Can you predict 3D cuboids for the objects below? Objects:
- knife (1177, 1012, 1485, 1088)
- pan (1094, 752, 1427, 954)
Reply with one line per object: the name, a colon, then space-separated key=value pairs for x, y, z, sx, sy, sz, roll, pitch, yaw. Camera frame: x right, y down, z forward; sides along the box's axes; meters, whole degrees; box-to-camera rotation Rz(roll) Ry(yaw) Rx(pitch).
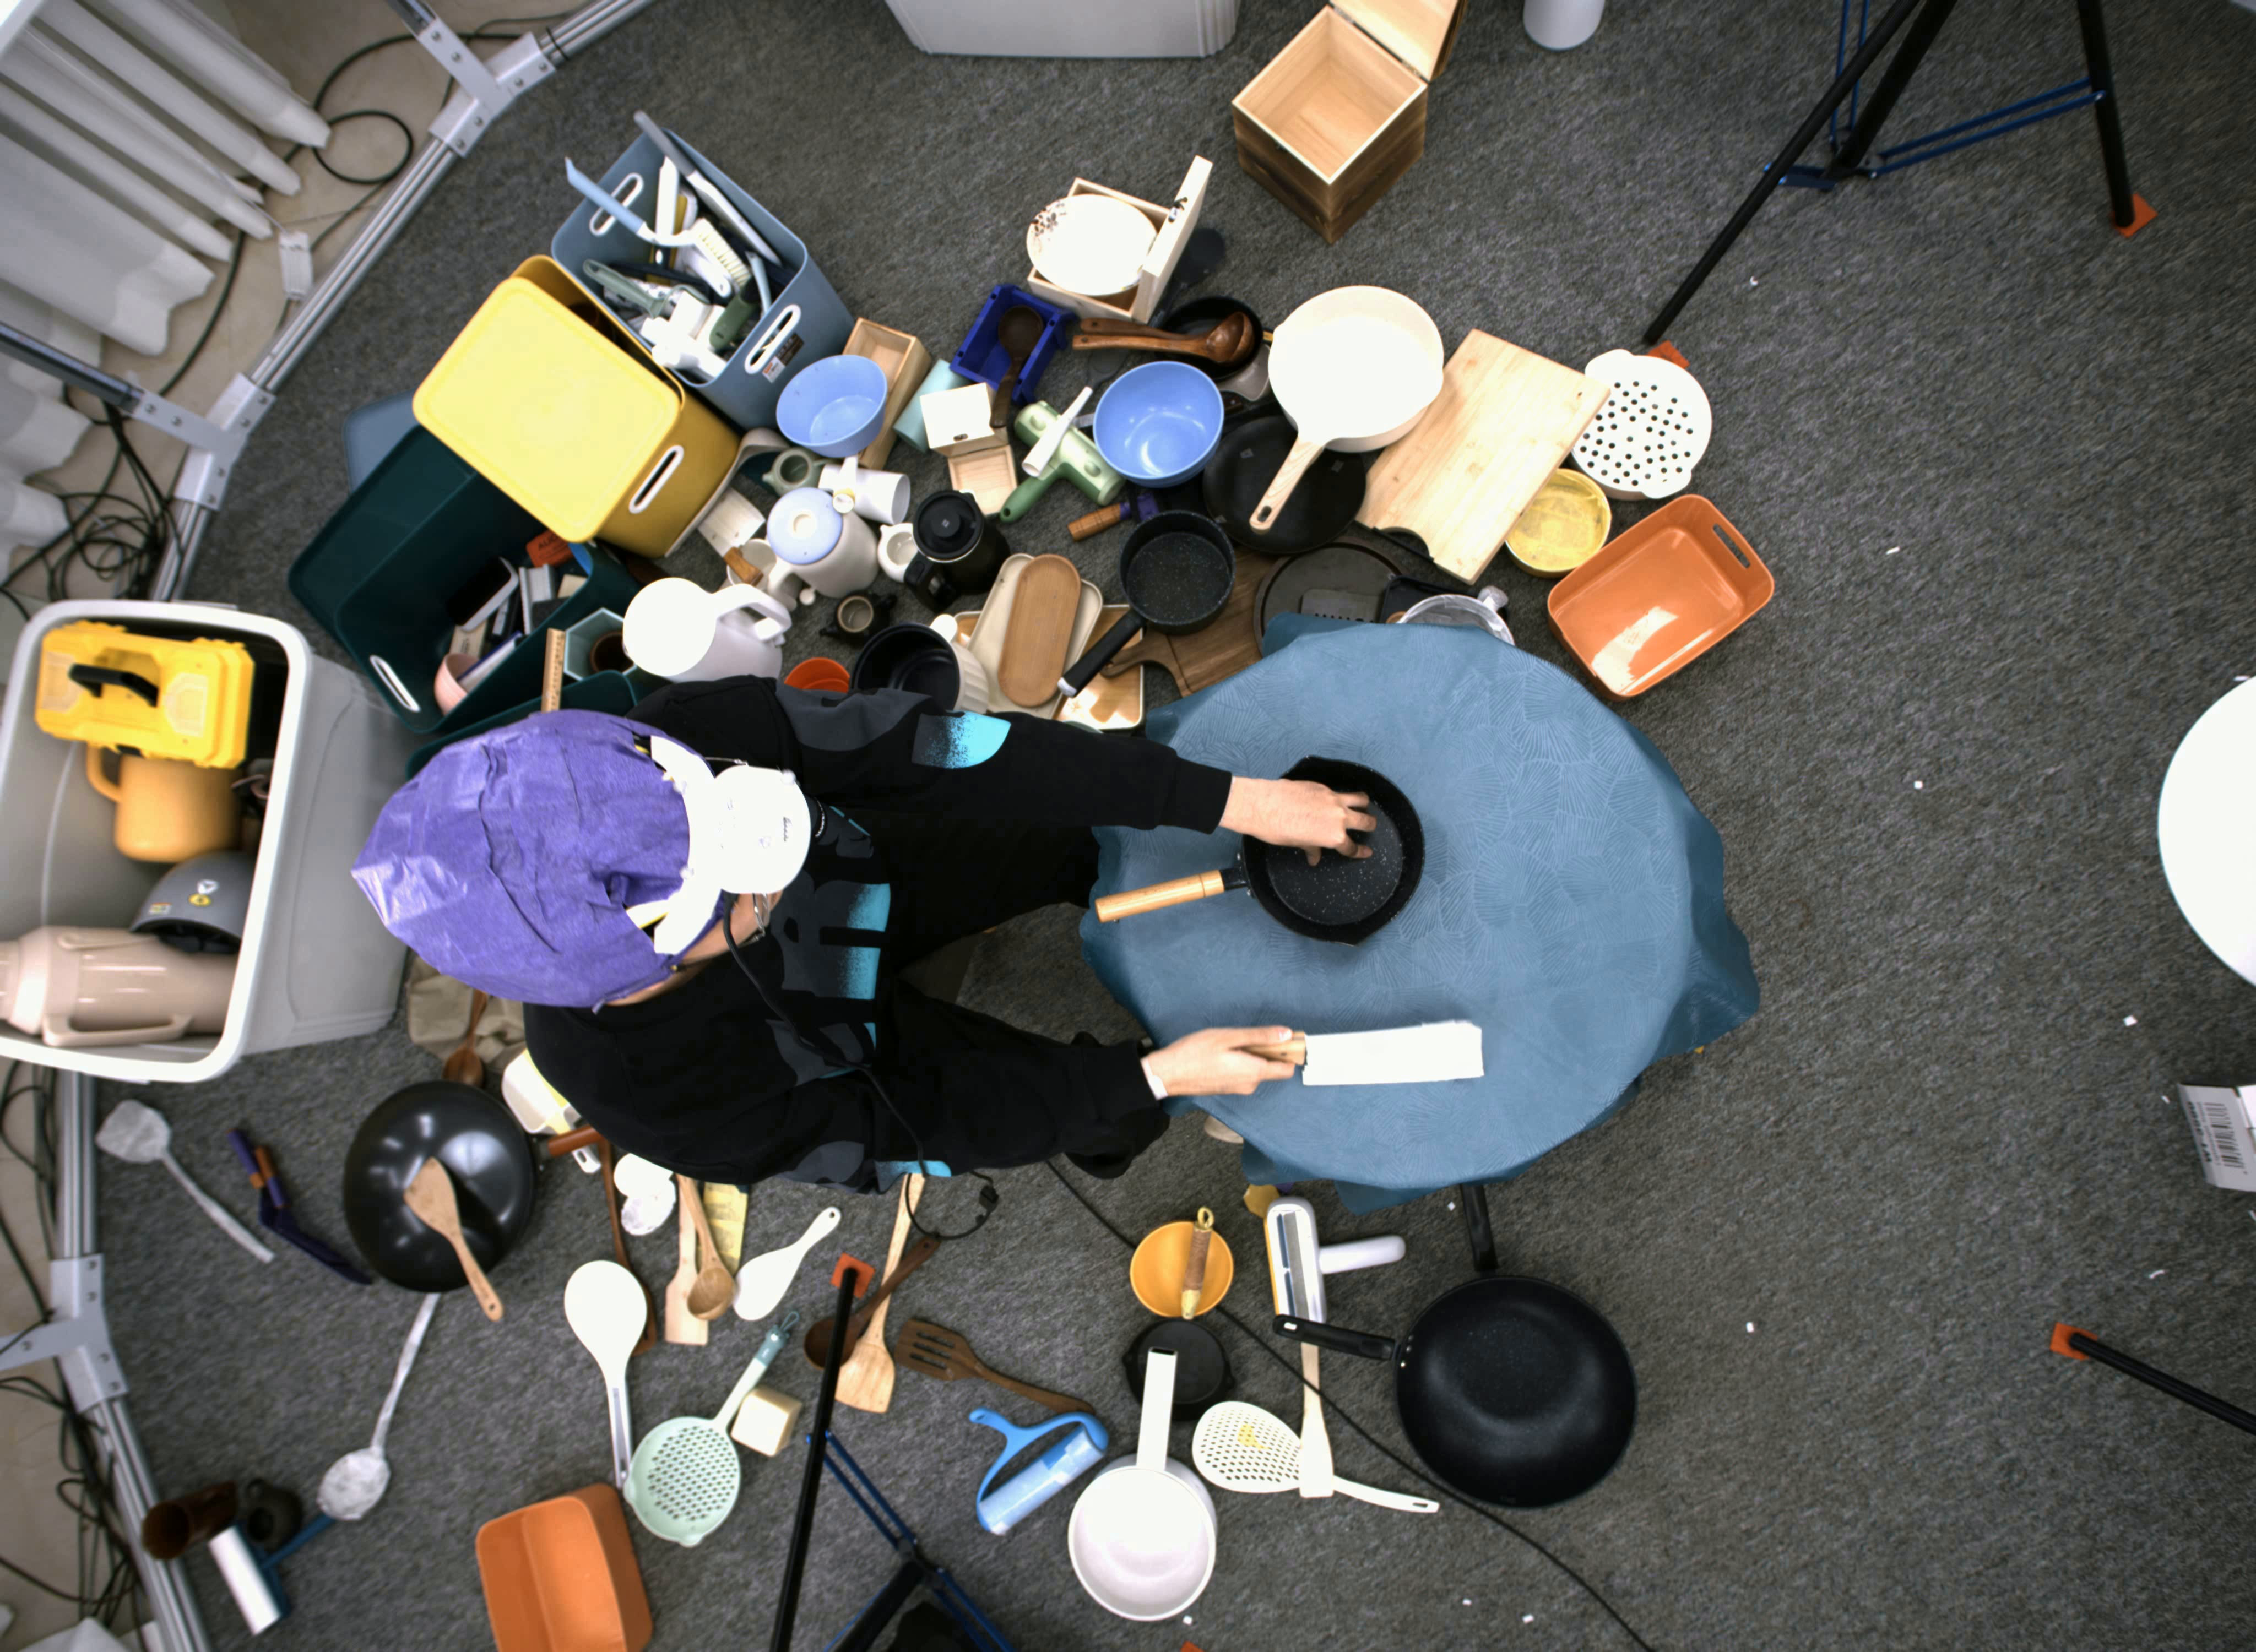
knife: x=0.208 y=0.231 z=1.418 sx=0.316 sy=0.117 sz=0.021 roll=-2 pitch=42 yaw=7
pan: x=0.136 y=0.049 z=1.430 sx=0.344 sy=0.108 sz=0.206 roll=-17 pitch=84 yaw=8
